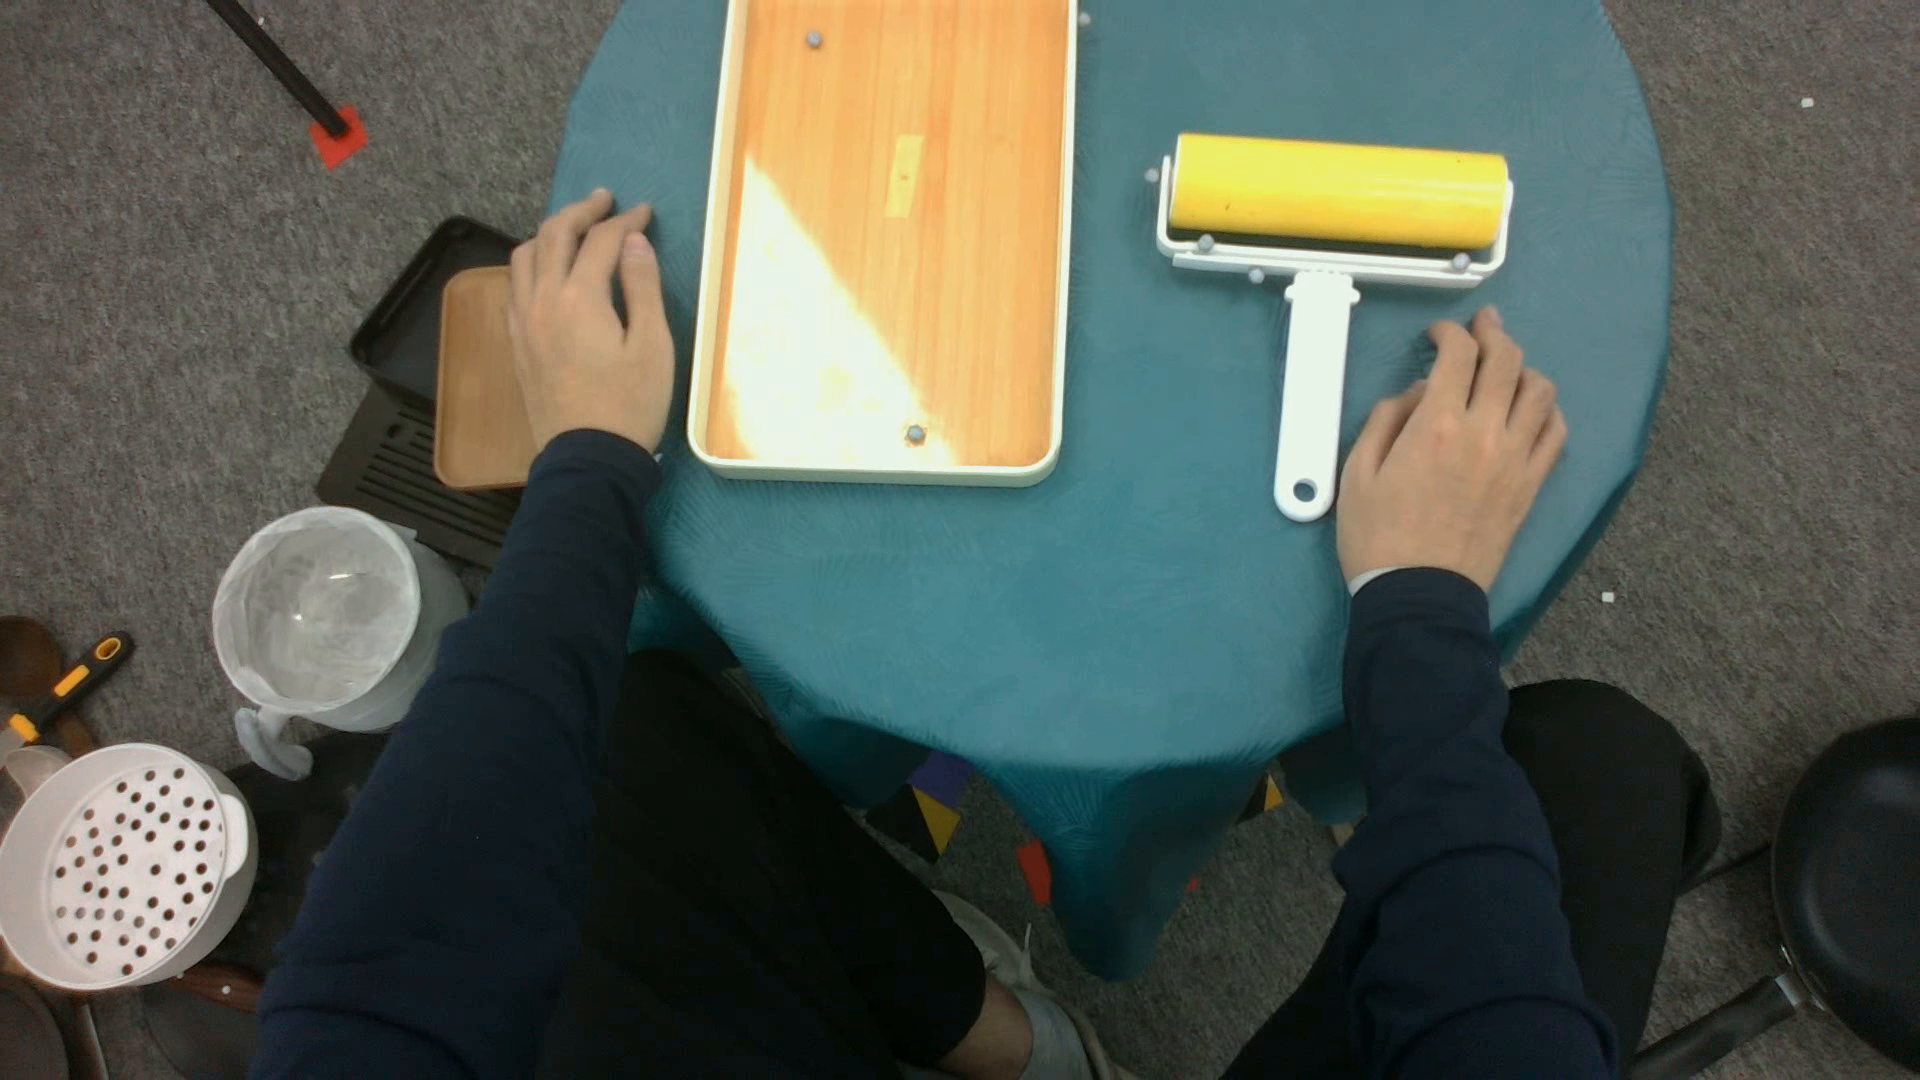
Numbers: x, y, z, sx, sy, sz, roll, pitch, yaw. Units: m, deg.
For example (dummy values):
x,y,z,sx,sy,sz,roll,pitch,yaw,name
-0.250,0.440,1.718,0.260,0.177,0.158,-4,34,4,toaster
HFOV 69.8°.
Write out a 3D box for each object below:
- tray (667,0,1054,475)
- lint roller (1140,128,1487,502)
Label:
x,y,z,sx,sy,sz,roll,pitch,yaw,name
-0.048,-0.182,0.733,0.191,0.027,0.301,2,75,4,tray
0.175,-0.117,0.693,0.174,0.051,0.192,4,72,5,lint roller
